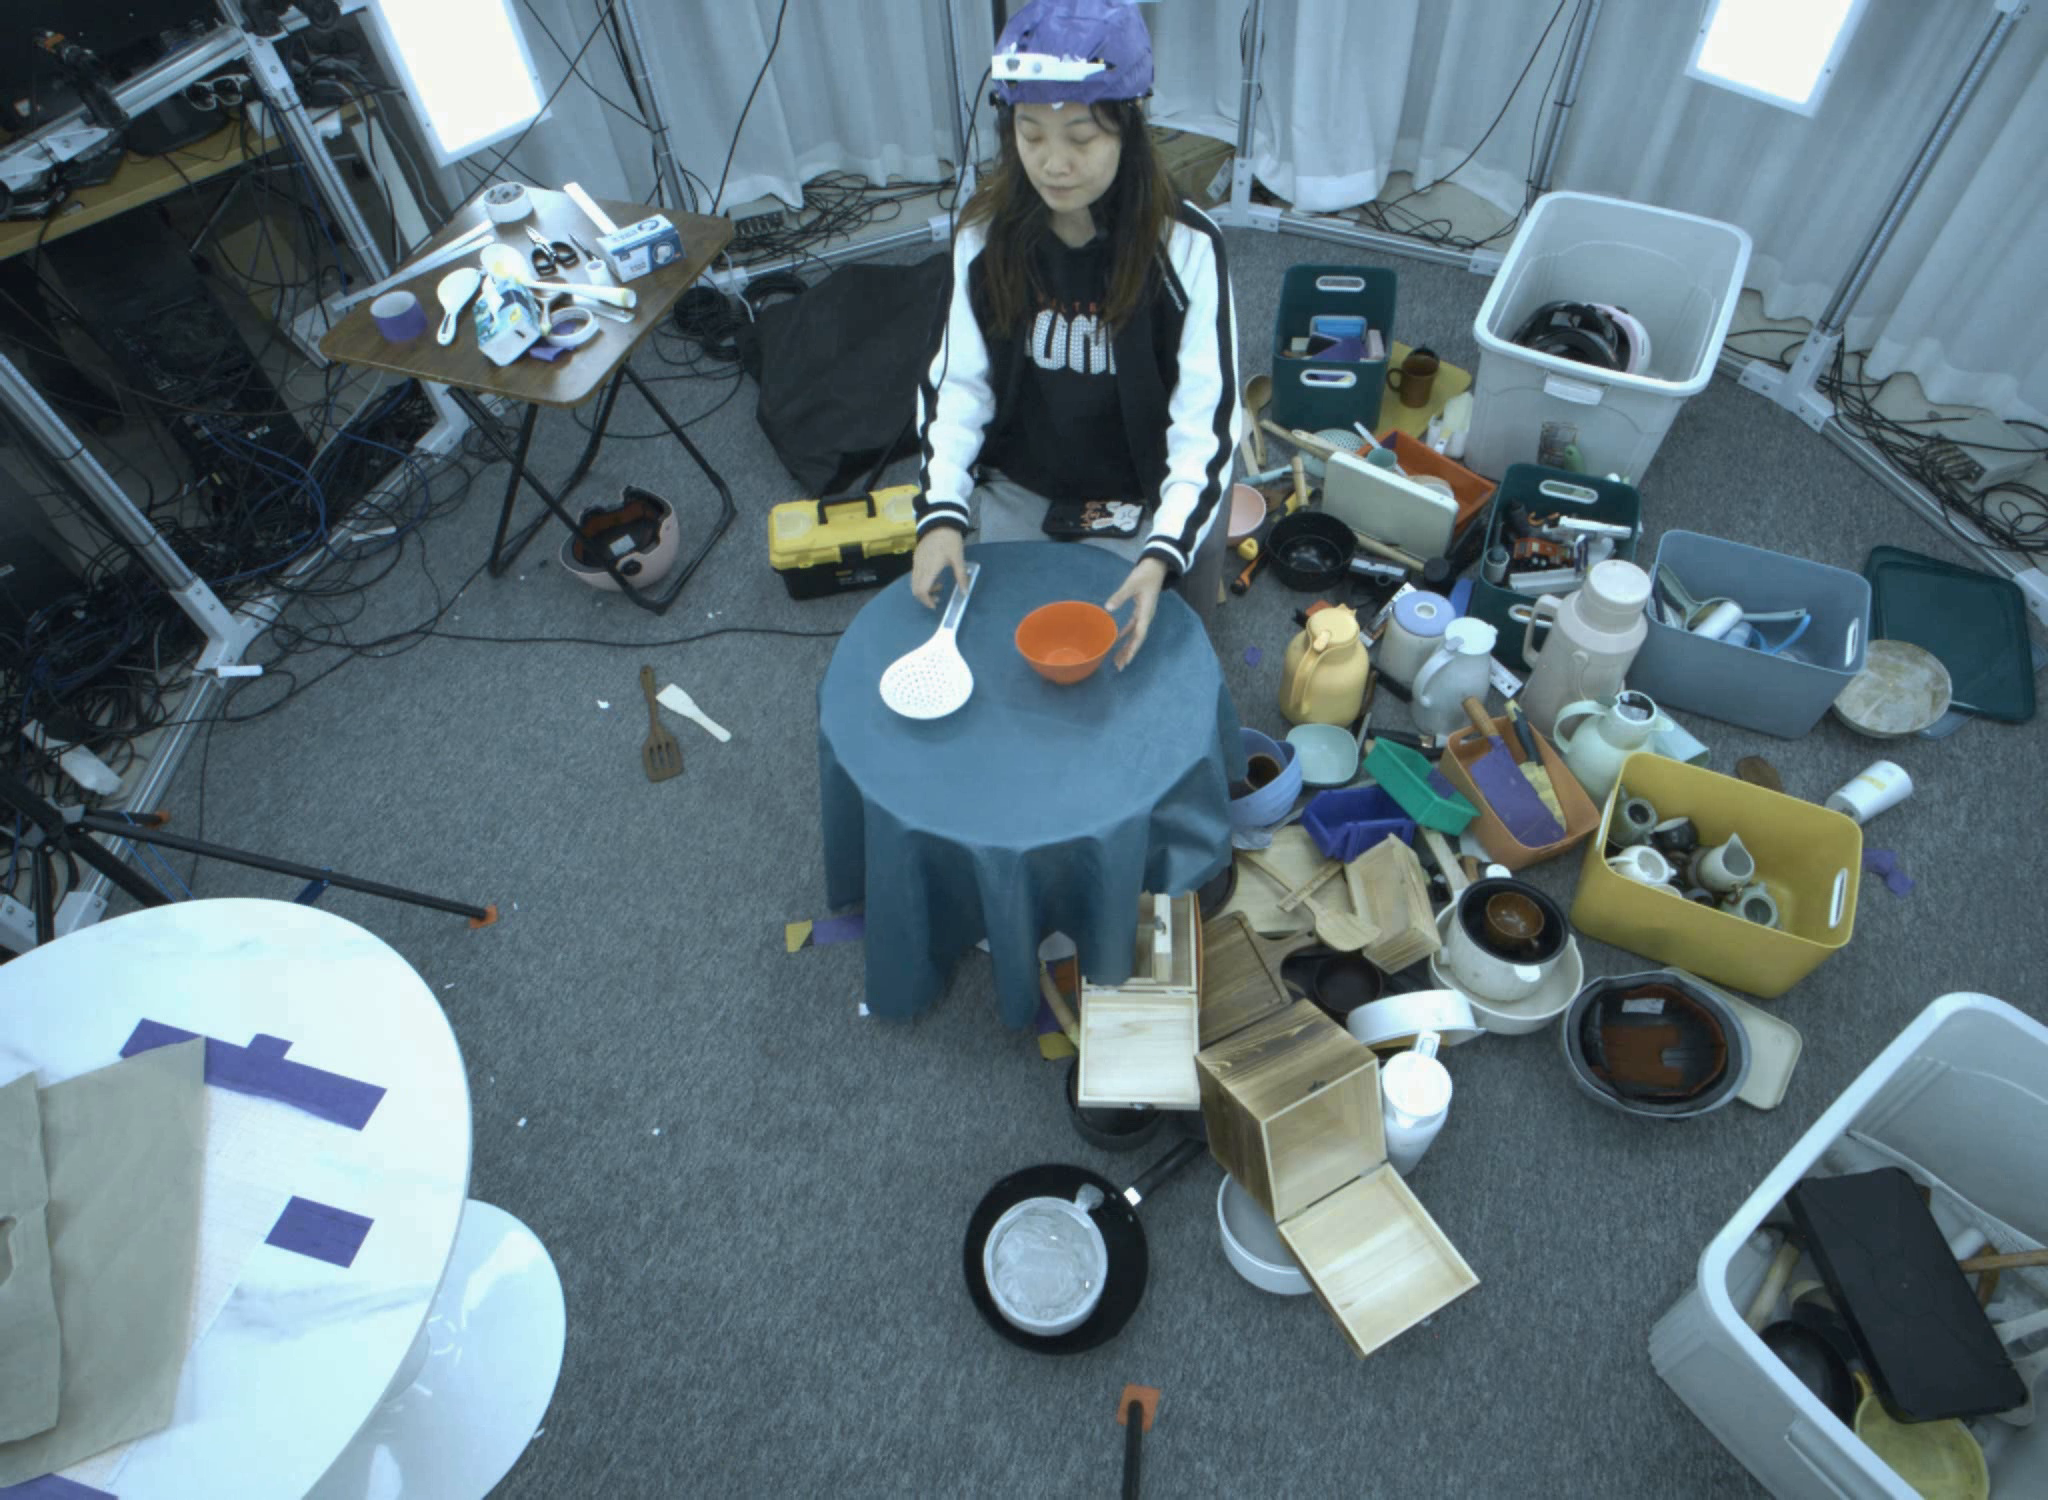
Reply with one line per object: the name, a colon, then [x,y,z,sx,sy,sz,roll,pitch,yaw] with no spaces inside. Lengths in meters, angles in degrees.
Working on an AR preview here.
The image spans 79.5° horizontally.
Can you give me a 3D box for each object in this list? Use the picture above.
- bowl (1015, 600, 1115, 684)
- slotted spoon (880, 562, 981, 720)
bowl: [0.064,-0.147,1.826,0.147,0.106,0.146,-3,55,5]
slotted spoon: [-0.122,-0.172,1.886,0.135,0.046,0.348,10,55,7]
